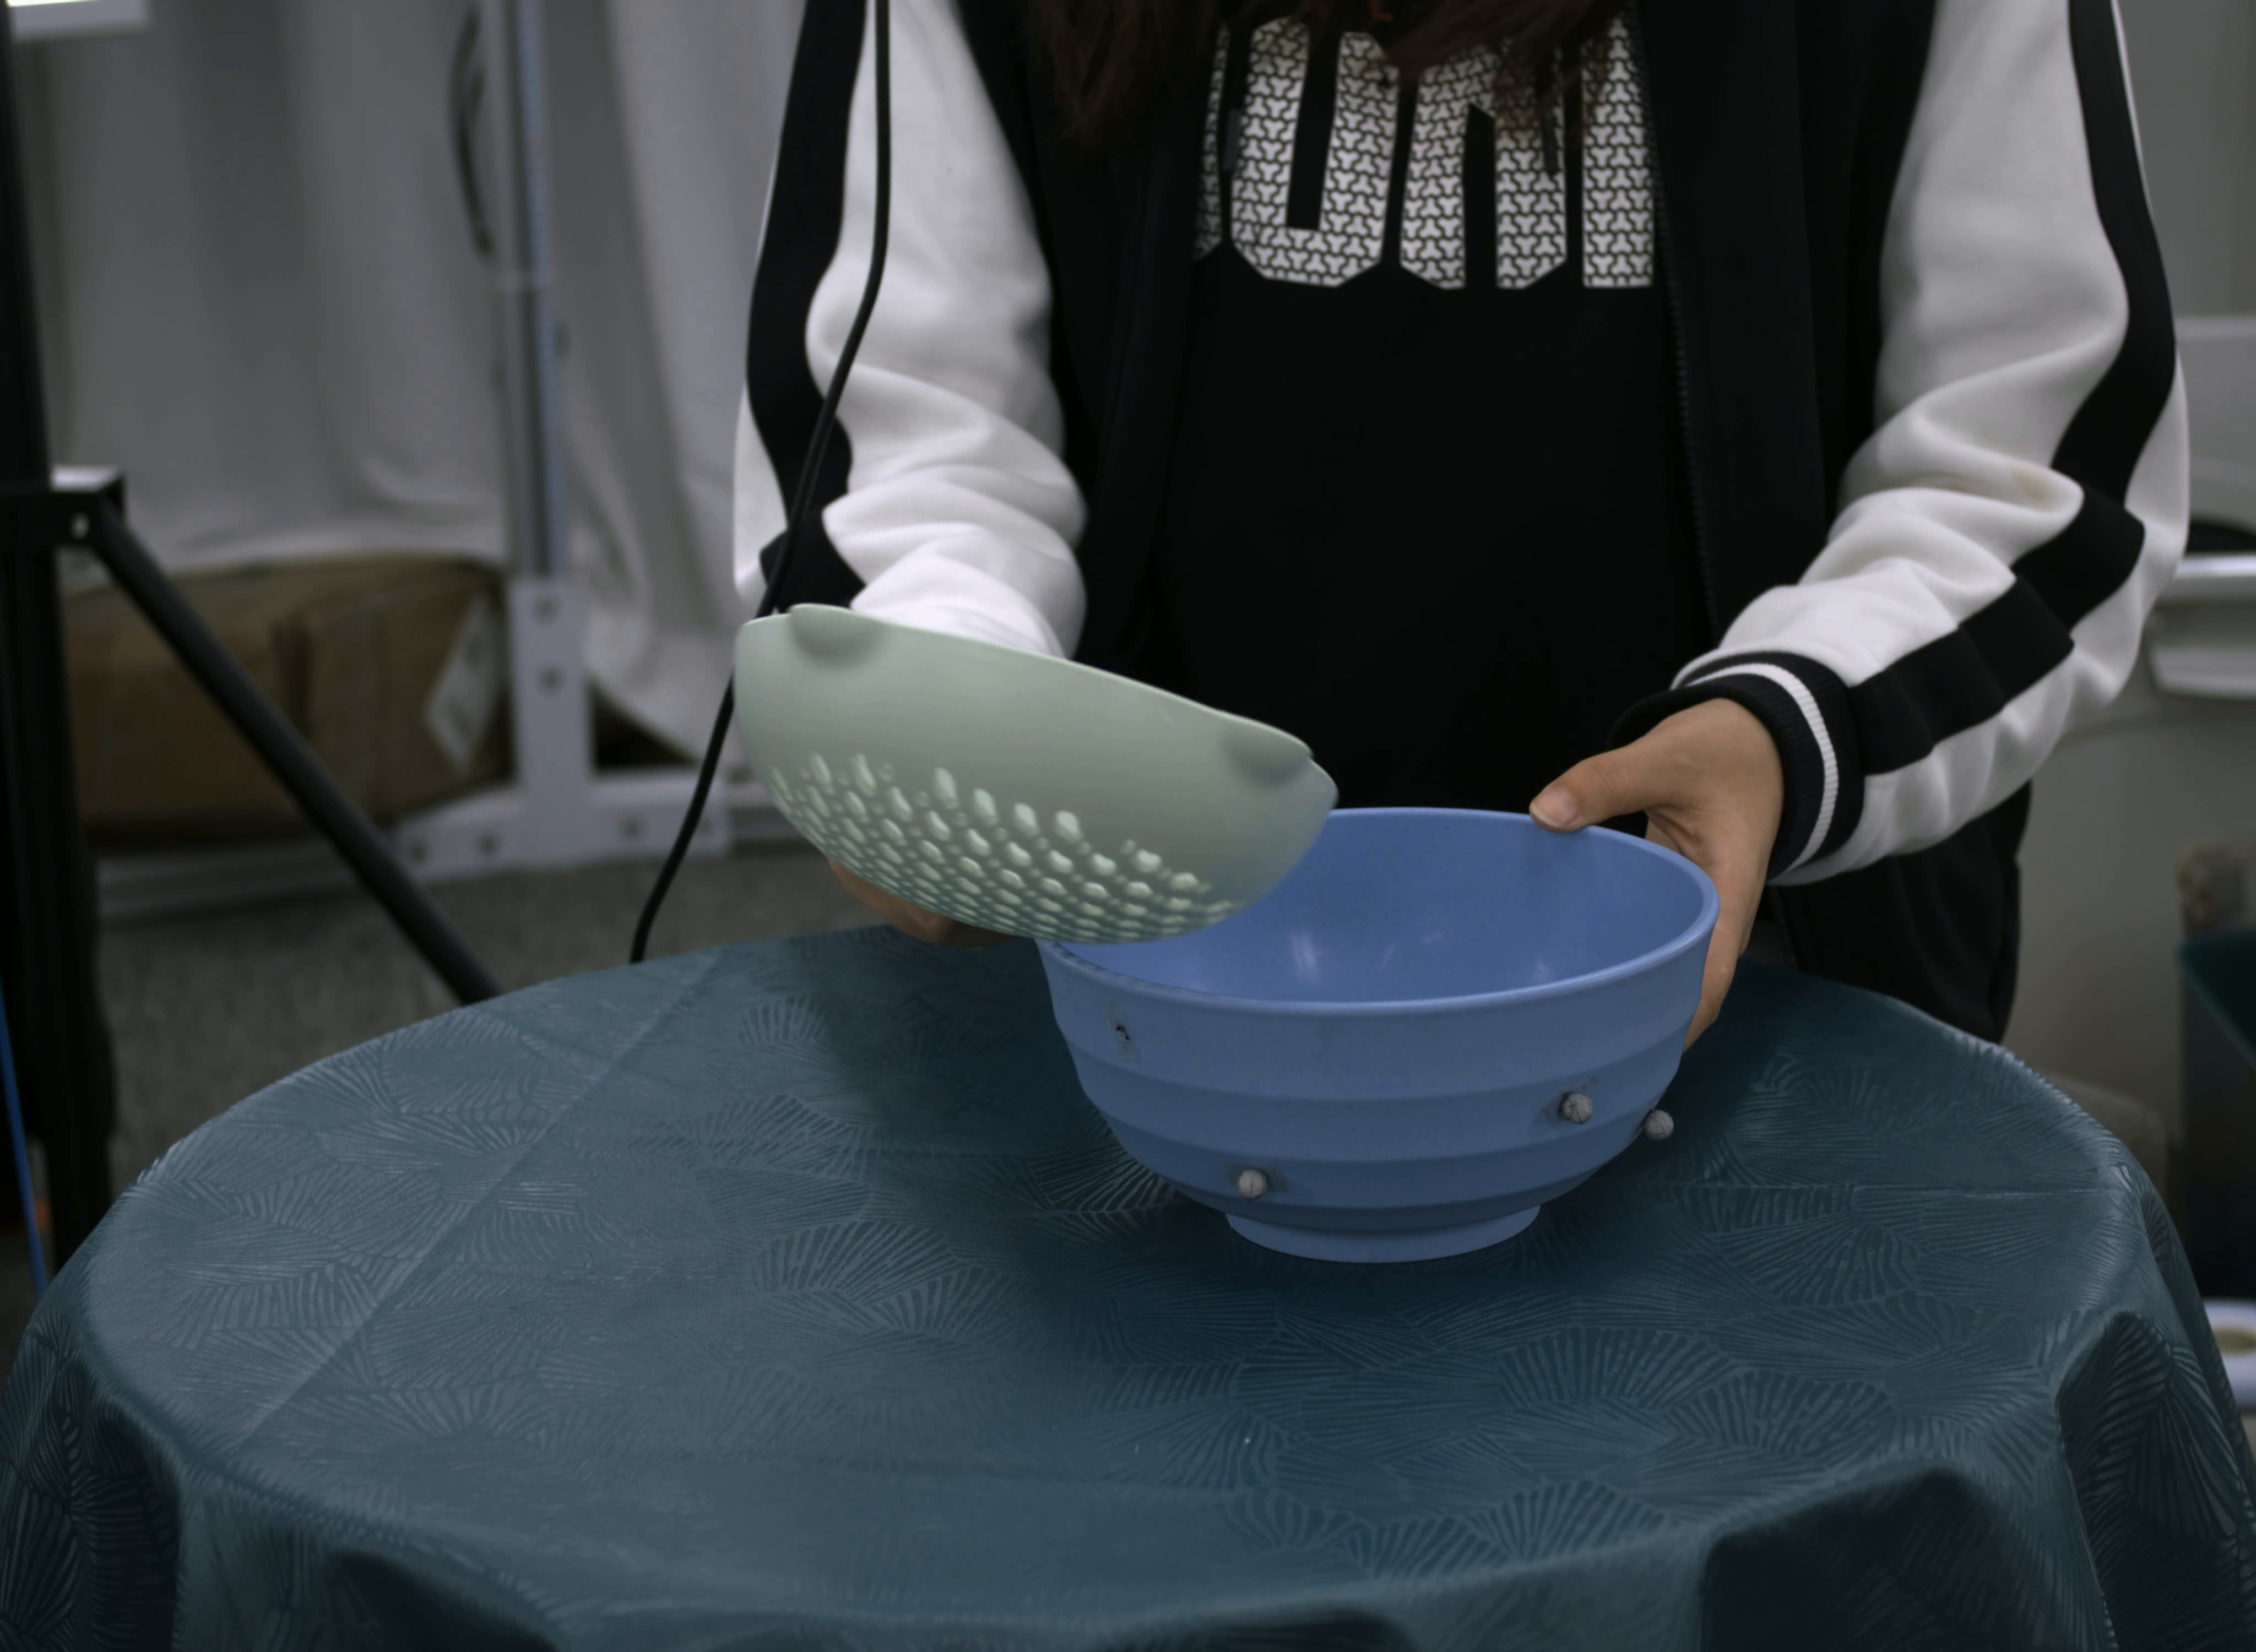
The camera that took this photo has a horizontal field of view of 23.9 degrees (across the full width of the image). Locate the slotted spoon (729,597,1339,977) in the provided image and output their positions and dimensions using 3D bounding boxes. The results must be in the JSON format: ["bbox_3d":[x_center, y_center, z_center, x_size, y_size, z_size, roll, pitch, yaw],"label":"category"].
[{"bbox_3d":[-0.037,0.001,1.529,0.168,0.076,0.359,16,-4,-1],"label":"slotted spoon"}]

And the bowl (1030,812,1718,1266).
[{"bbox_3d":[0.071,0.066,1.520,0.195,0.095,0.197,-3,15,0],"label":"bowl"}]
